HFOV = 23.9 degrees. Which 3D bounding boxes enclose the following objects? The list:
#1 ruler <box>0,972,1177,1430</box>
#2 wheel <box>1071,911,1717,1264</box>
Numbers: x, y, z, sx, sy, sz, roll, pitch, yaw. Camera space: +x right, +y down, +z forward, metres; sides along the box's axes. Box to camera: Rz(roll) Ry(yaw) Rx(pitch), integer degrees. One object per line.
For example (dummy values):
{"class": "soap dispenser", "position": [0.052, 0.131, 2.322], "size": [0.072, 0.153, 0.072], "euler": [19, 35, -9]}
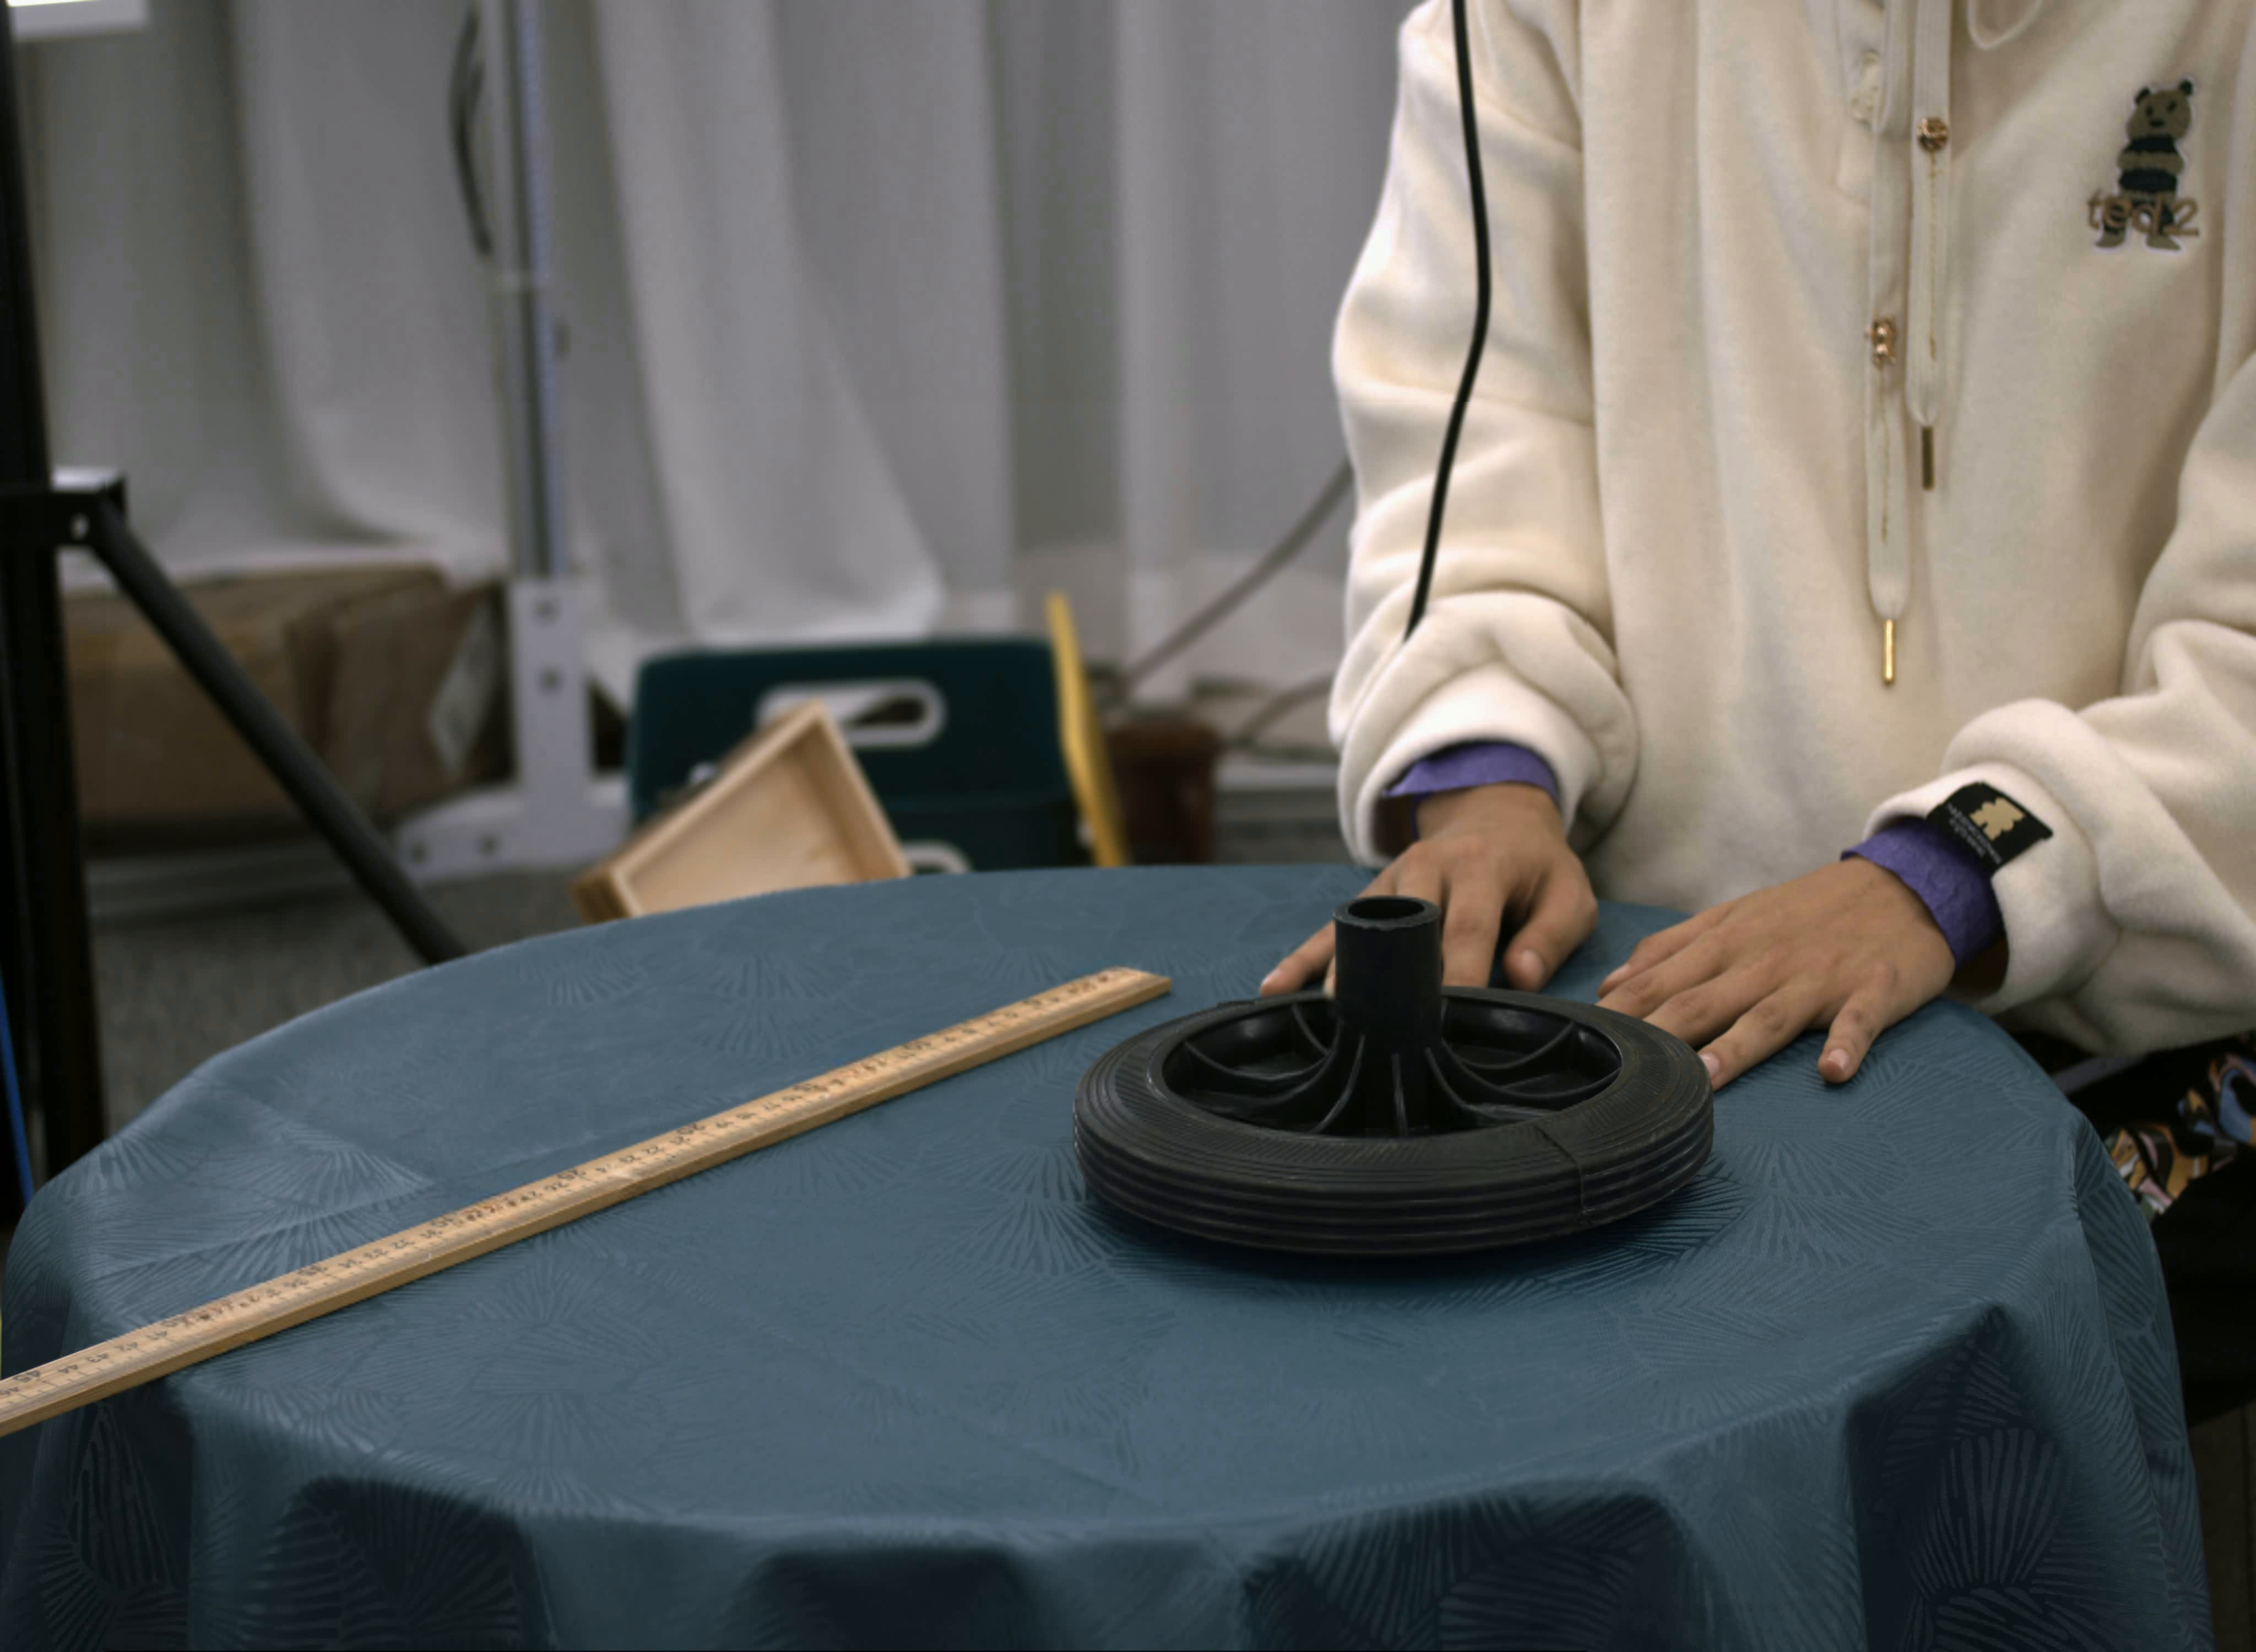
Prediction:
{"class": "ruler", "position": [-0.158, 0.107, 1.579], "size": [0.027, 0.006, 0.489], "euler": [10, 20, 42]}
{"class": "wheel", "position": [0.078, 0.067, 1.549], "size": [0.190, 0.079, 0.187], "euler": [0, 16, 6]}
